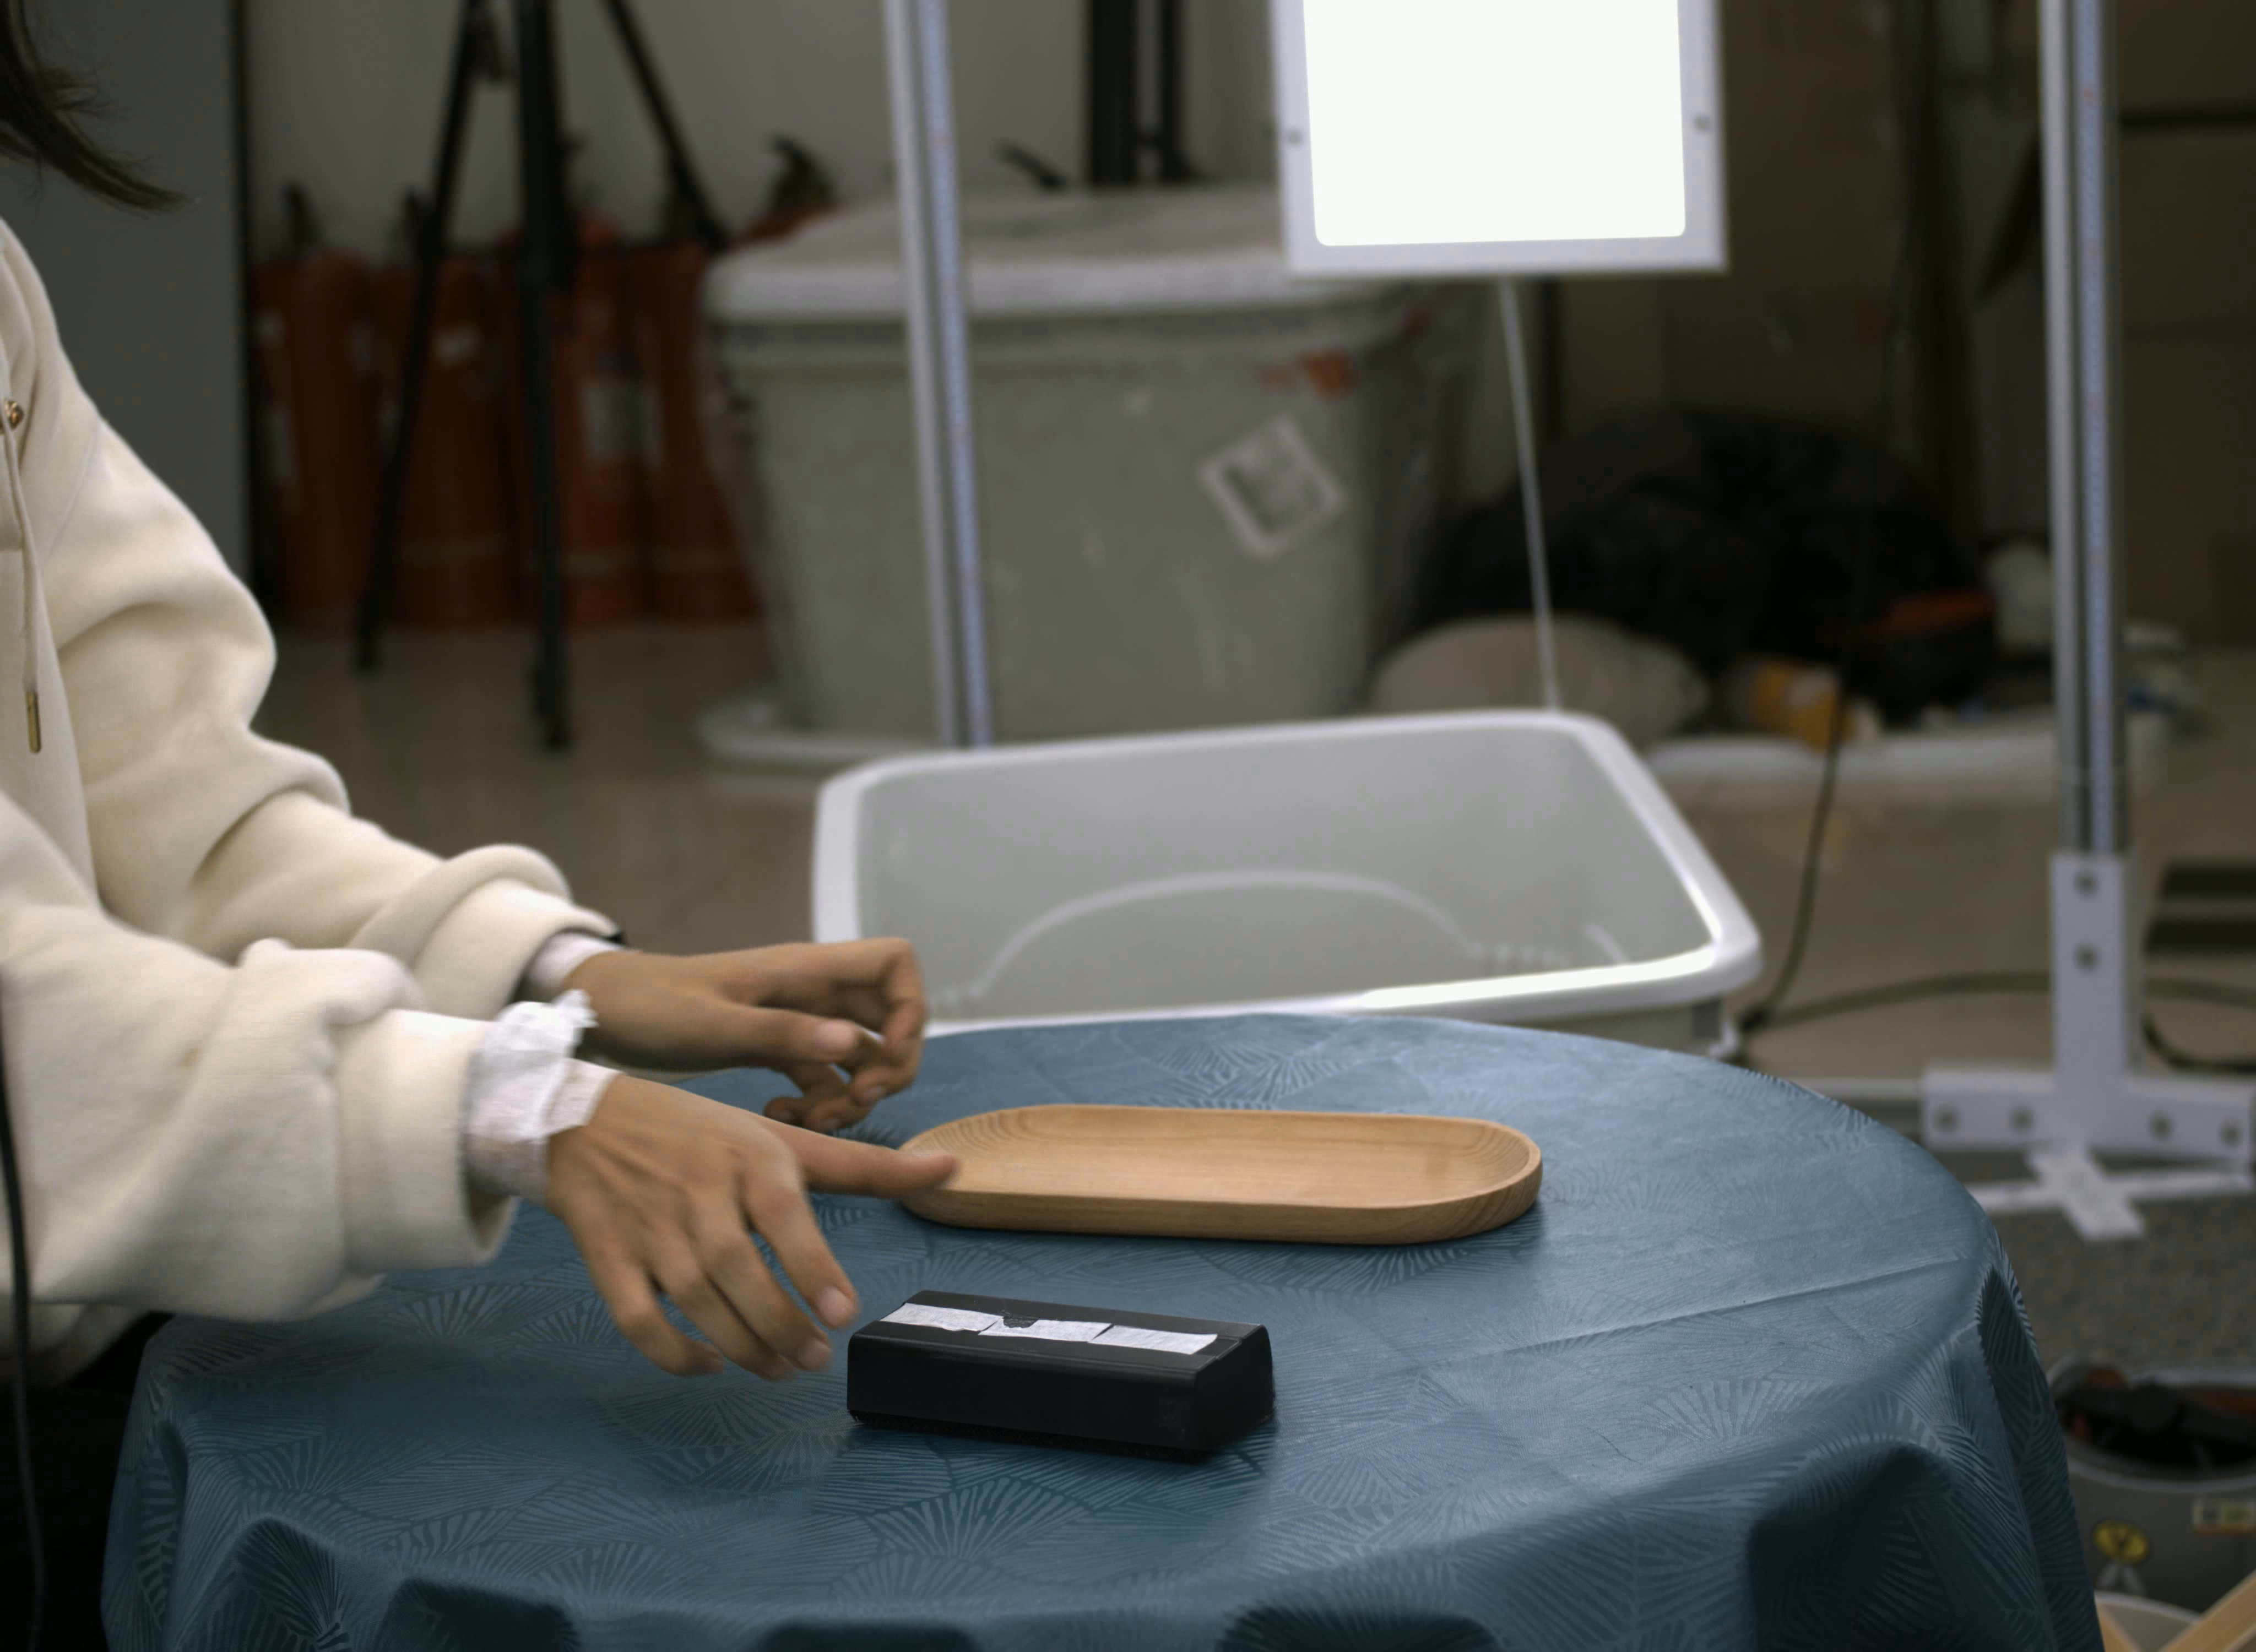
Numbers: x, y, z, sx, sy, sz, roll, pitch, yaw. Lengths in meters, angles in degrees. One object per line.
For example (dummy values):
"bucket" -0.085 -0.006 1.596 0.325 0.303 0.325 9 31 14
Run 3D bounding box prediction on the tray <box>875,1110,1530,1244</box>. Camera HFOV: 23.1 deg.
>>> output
"tray" 0.025 0.120 1.882 0.234 0.020 0.100 -2 14 21

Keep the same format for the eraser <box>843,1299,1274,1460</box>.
"eraser" -0.020 0.167 1.676 0.128 0.030 0.052 4 10 29
